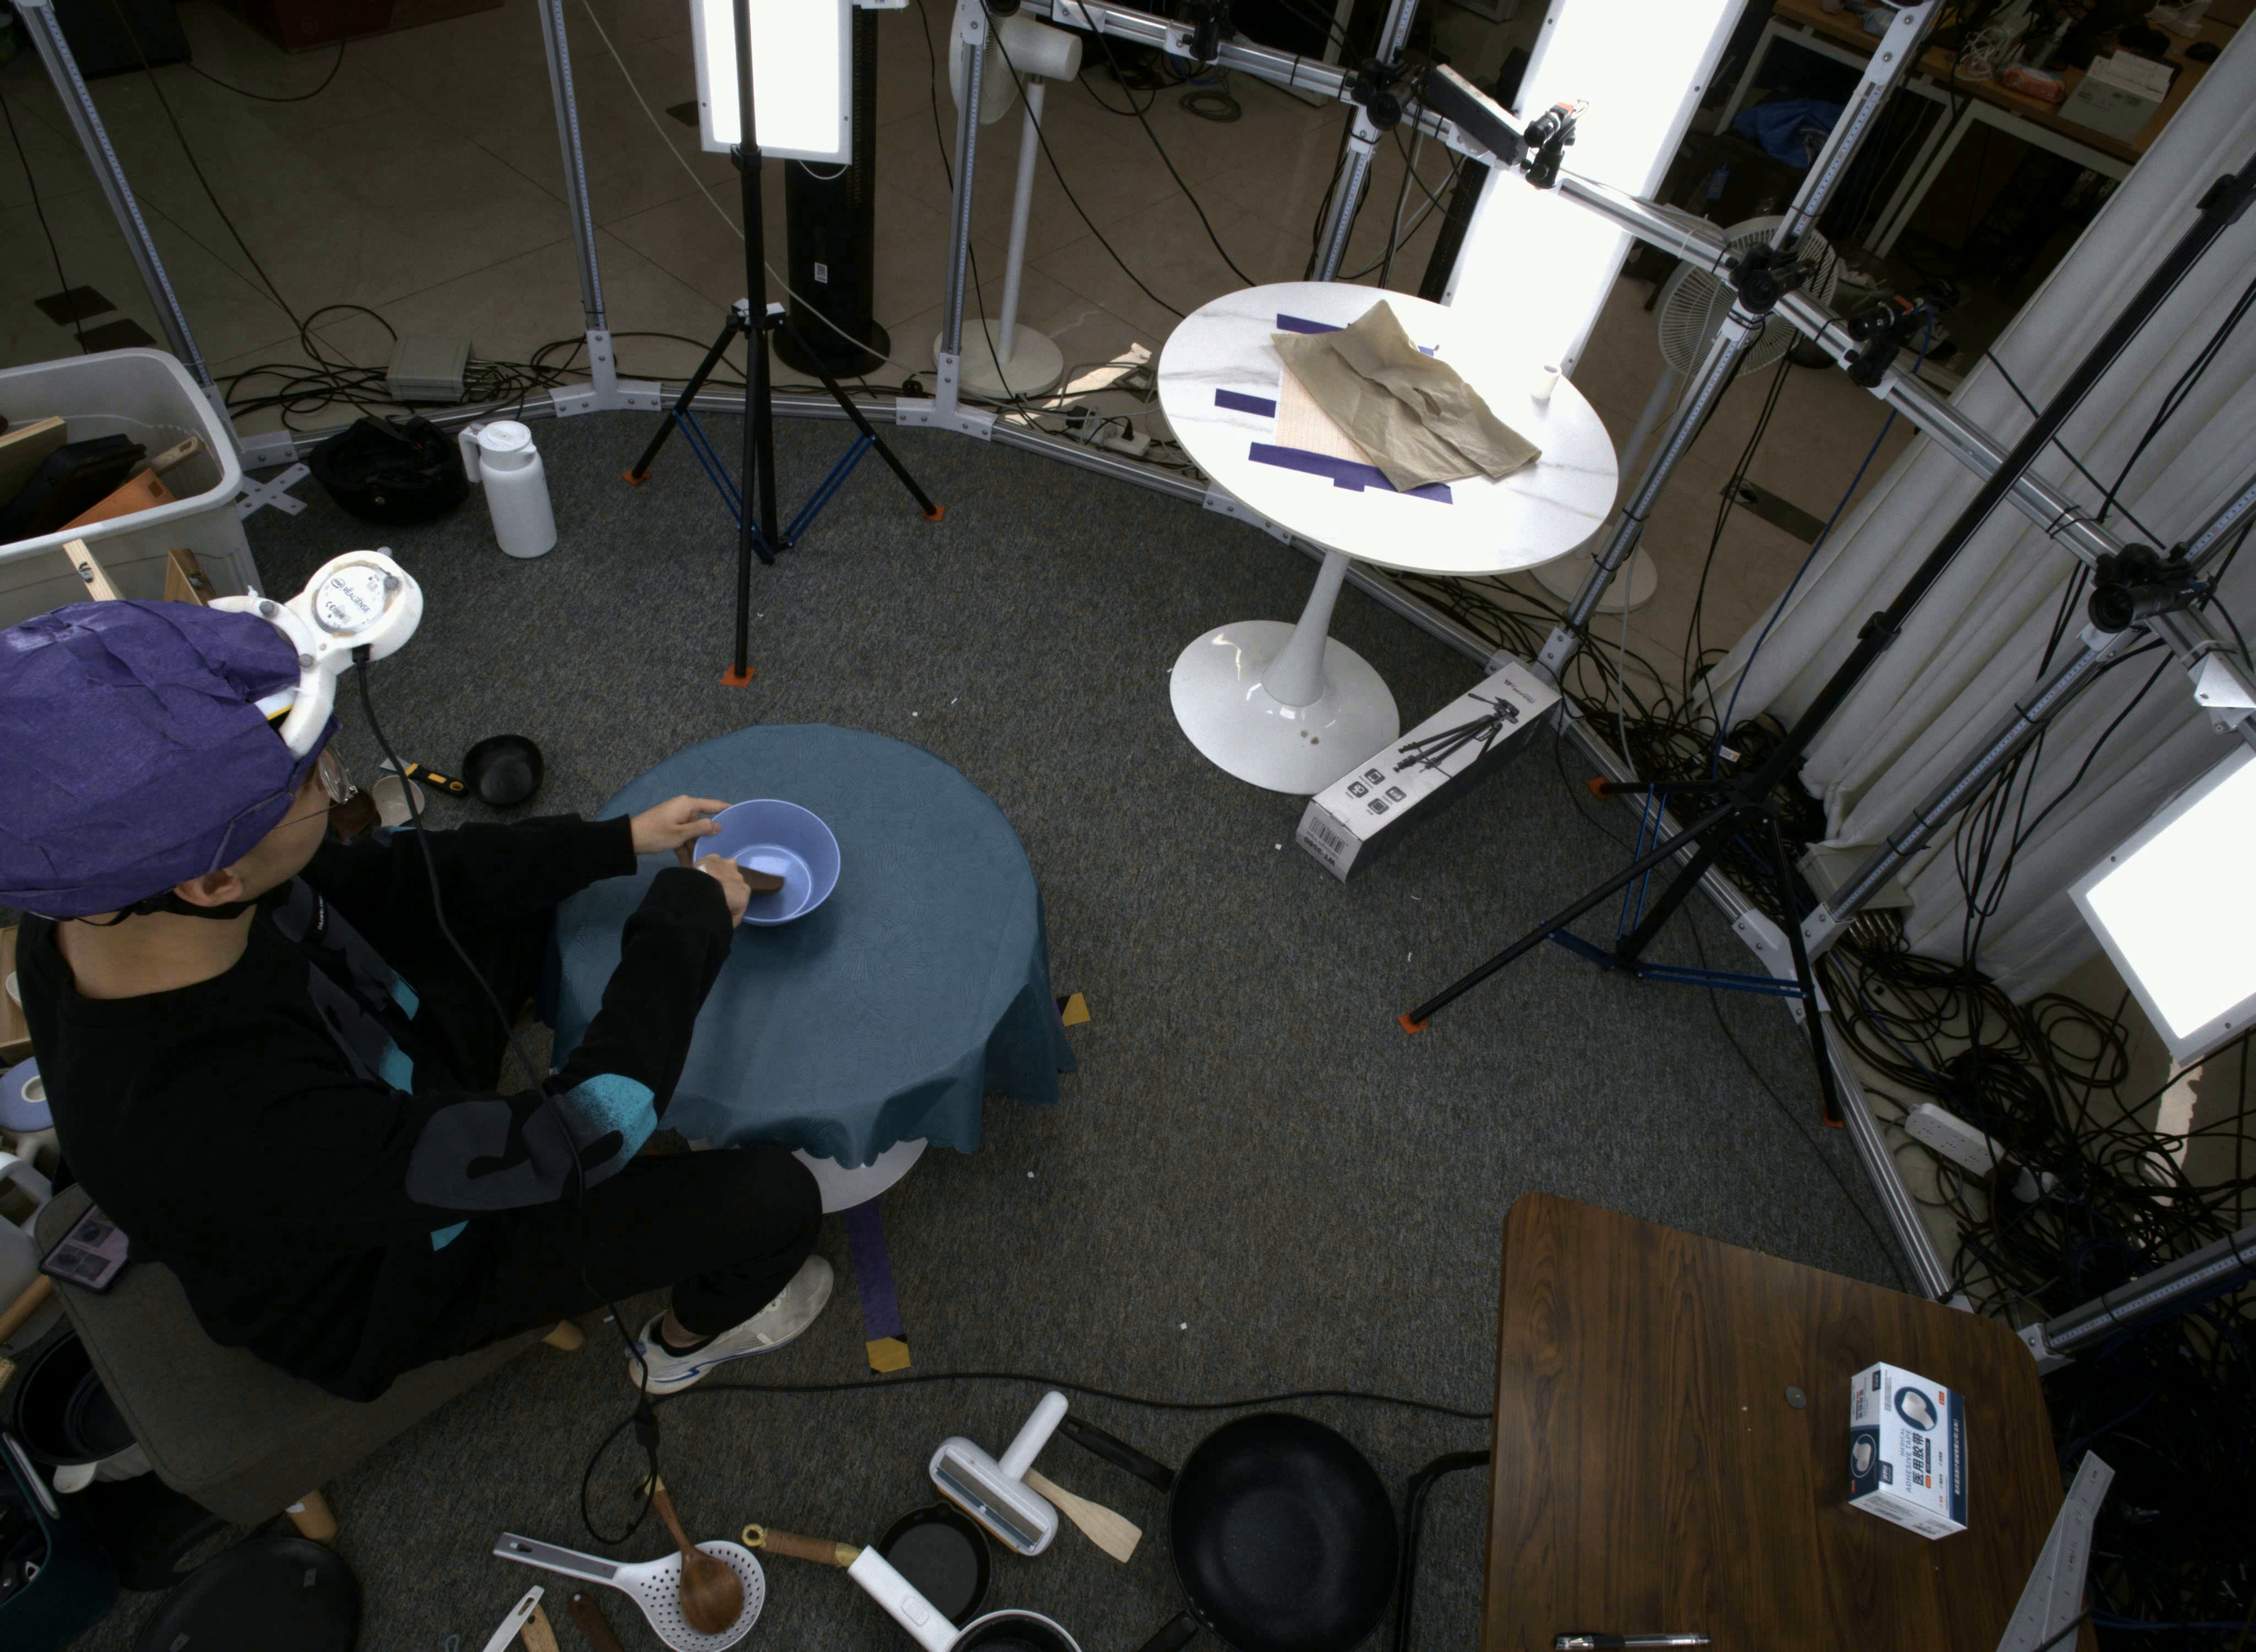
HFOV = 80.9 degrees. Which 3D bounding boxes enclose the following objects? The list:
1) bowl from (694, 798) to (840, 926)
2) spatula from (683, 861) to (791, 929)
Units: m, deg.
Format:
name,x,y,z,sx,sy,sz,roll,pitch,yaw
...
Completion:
name,x,y,z,sx,sy,sz,roll,pitch,yaw
bowl,-0.449,0.056,1.616,0.176,0.071,0.173,9,57,-12
spatula,-0.445,0.074,1.441,0.096,0.380,0.016,16,93,-9
